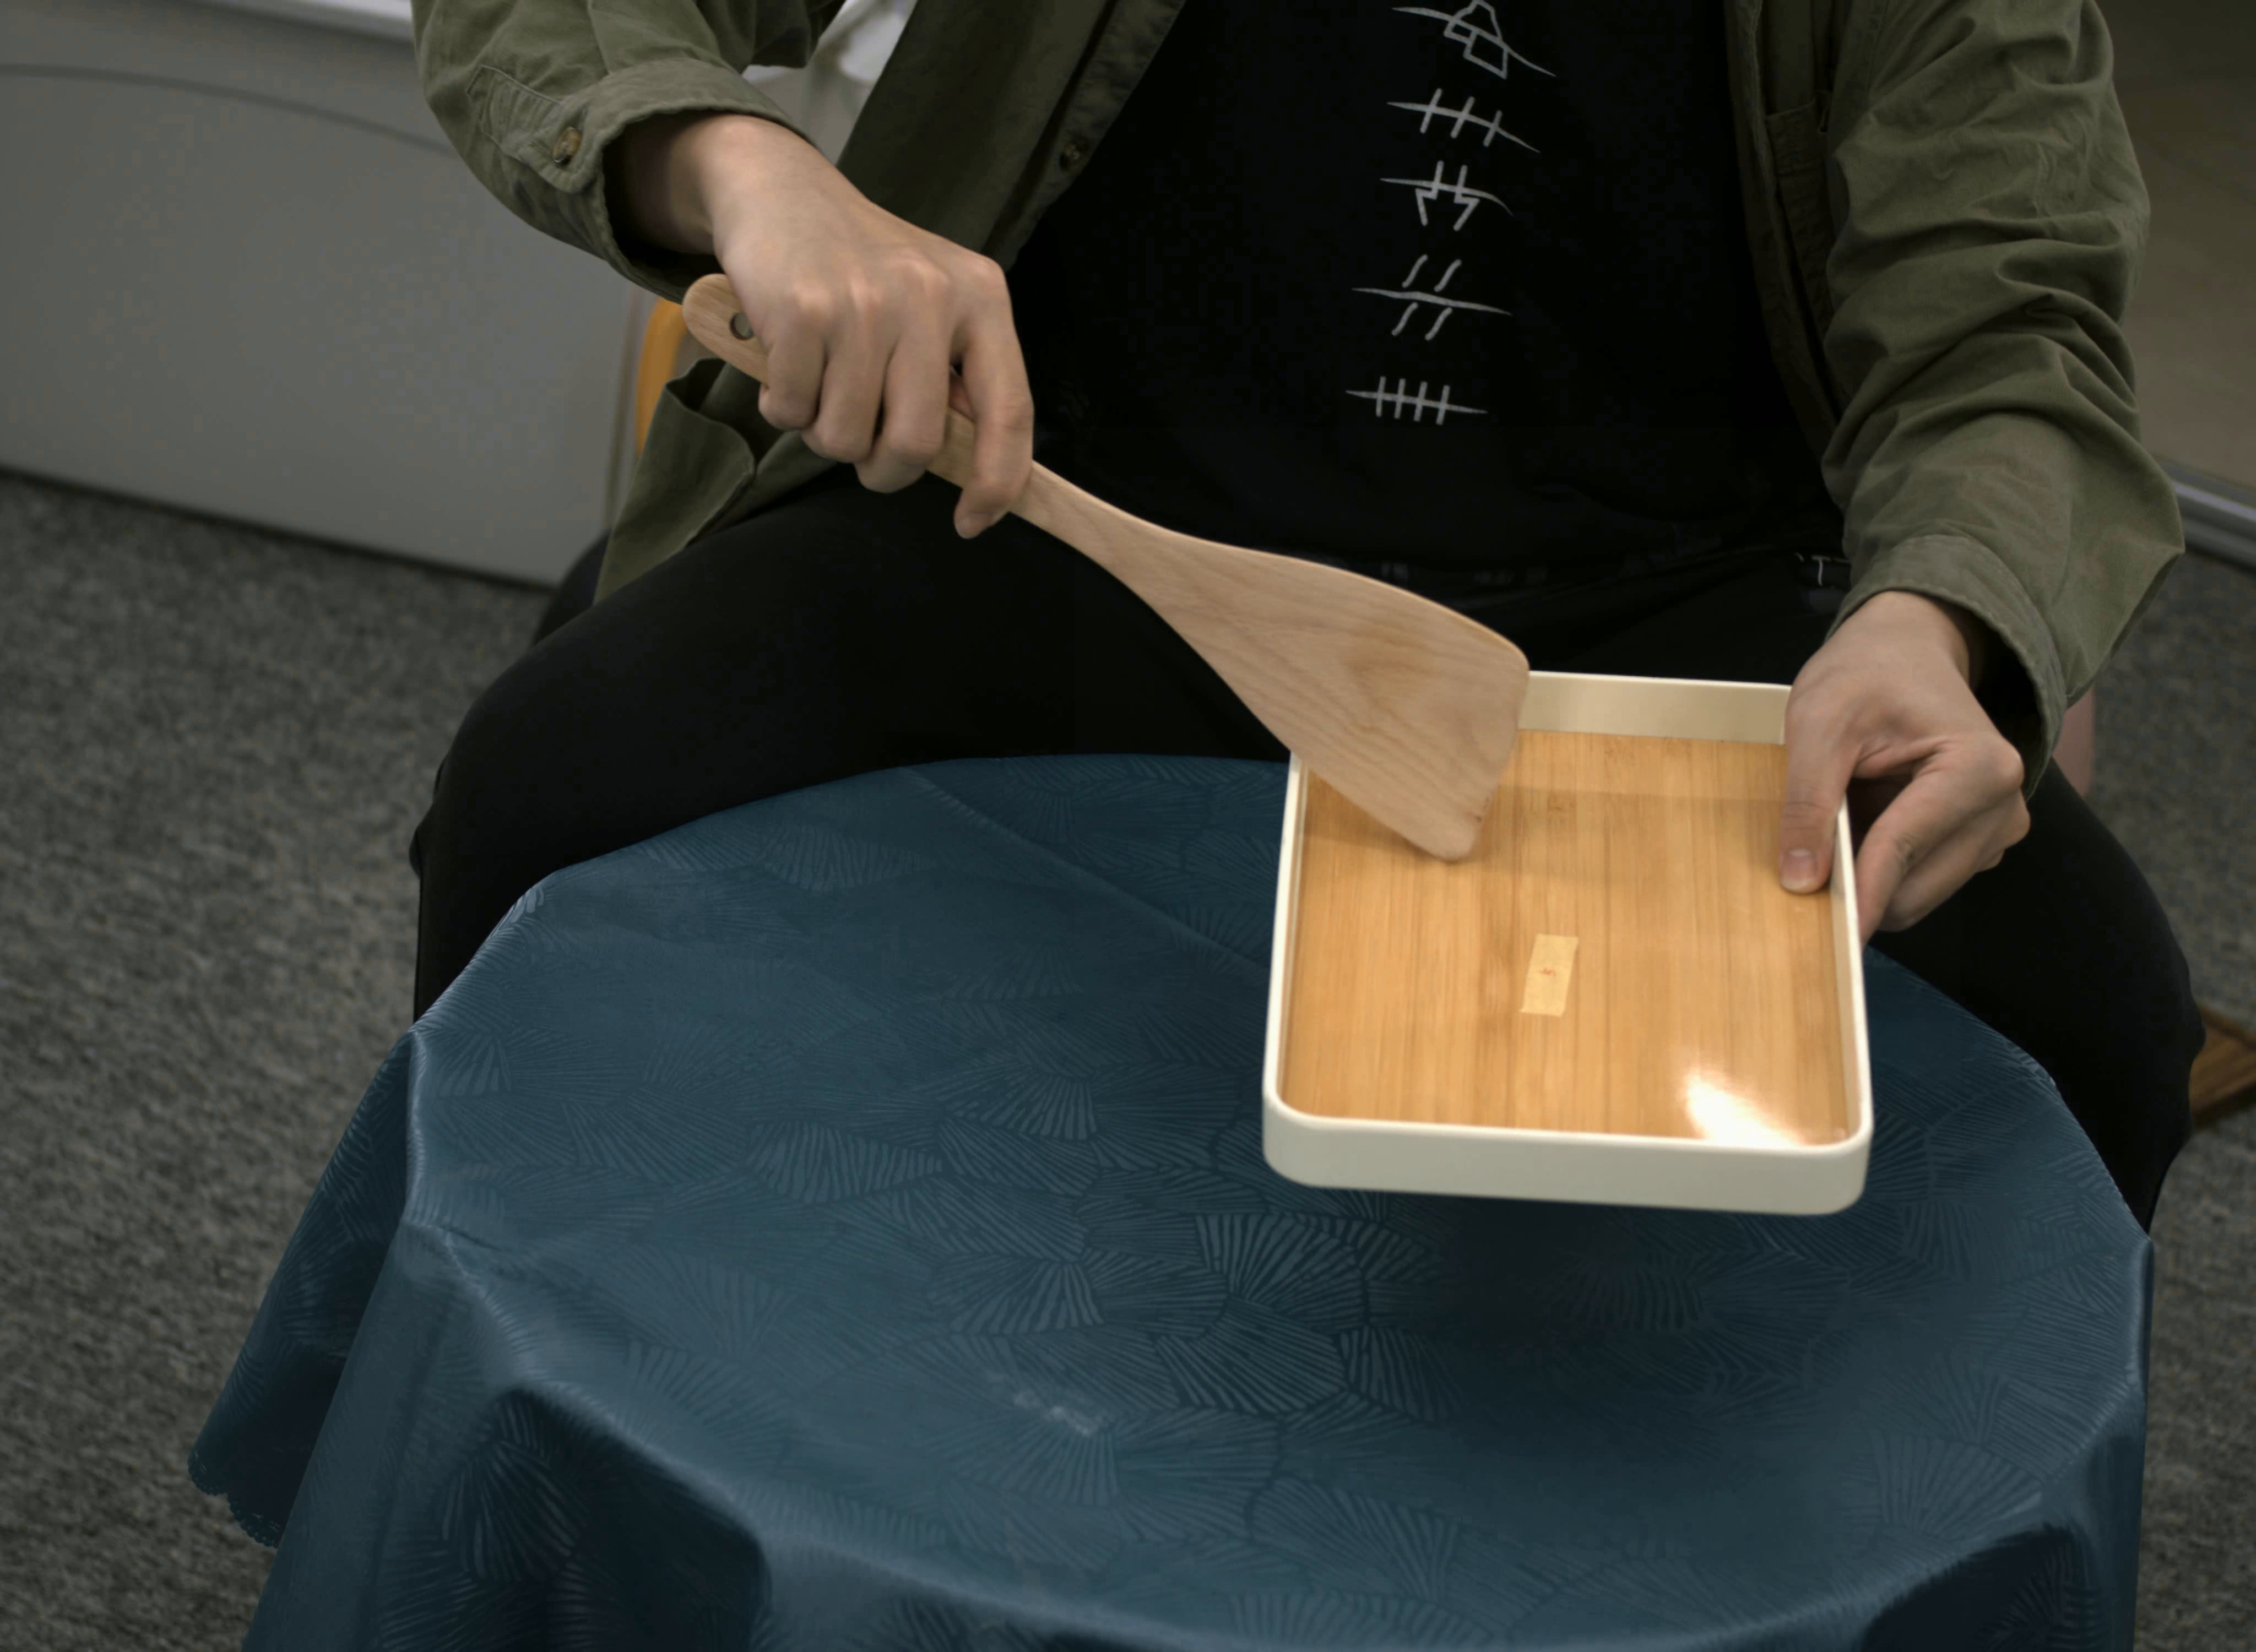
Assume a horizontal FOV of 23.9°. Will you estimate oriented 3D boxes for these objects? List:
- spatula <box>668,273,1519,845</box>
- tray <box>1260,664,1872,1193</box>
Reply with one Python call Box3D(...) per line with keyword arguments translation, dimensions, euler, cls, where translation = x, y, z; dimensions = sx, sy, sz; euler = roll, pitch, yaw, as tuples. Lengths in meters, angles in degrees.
Box3D(translation=(-0.014, -0.103, 1.812), dimensions=(0.327, 0.080, 0.016), euler=(29, 21, 4), cls="spatula")
Box3D(translation=(0.145, 0.027, 1.768), dimensions=(0.191, 0.027, 0.302), euler=(4, 29, 4), cls="tray")
